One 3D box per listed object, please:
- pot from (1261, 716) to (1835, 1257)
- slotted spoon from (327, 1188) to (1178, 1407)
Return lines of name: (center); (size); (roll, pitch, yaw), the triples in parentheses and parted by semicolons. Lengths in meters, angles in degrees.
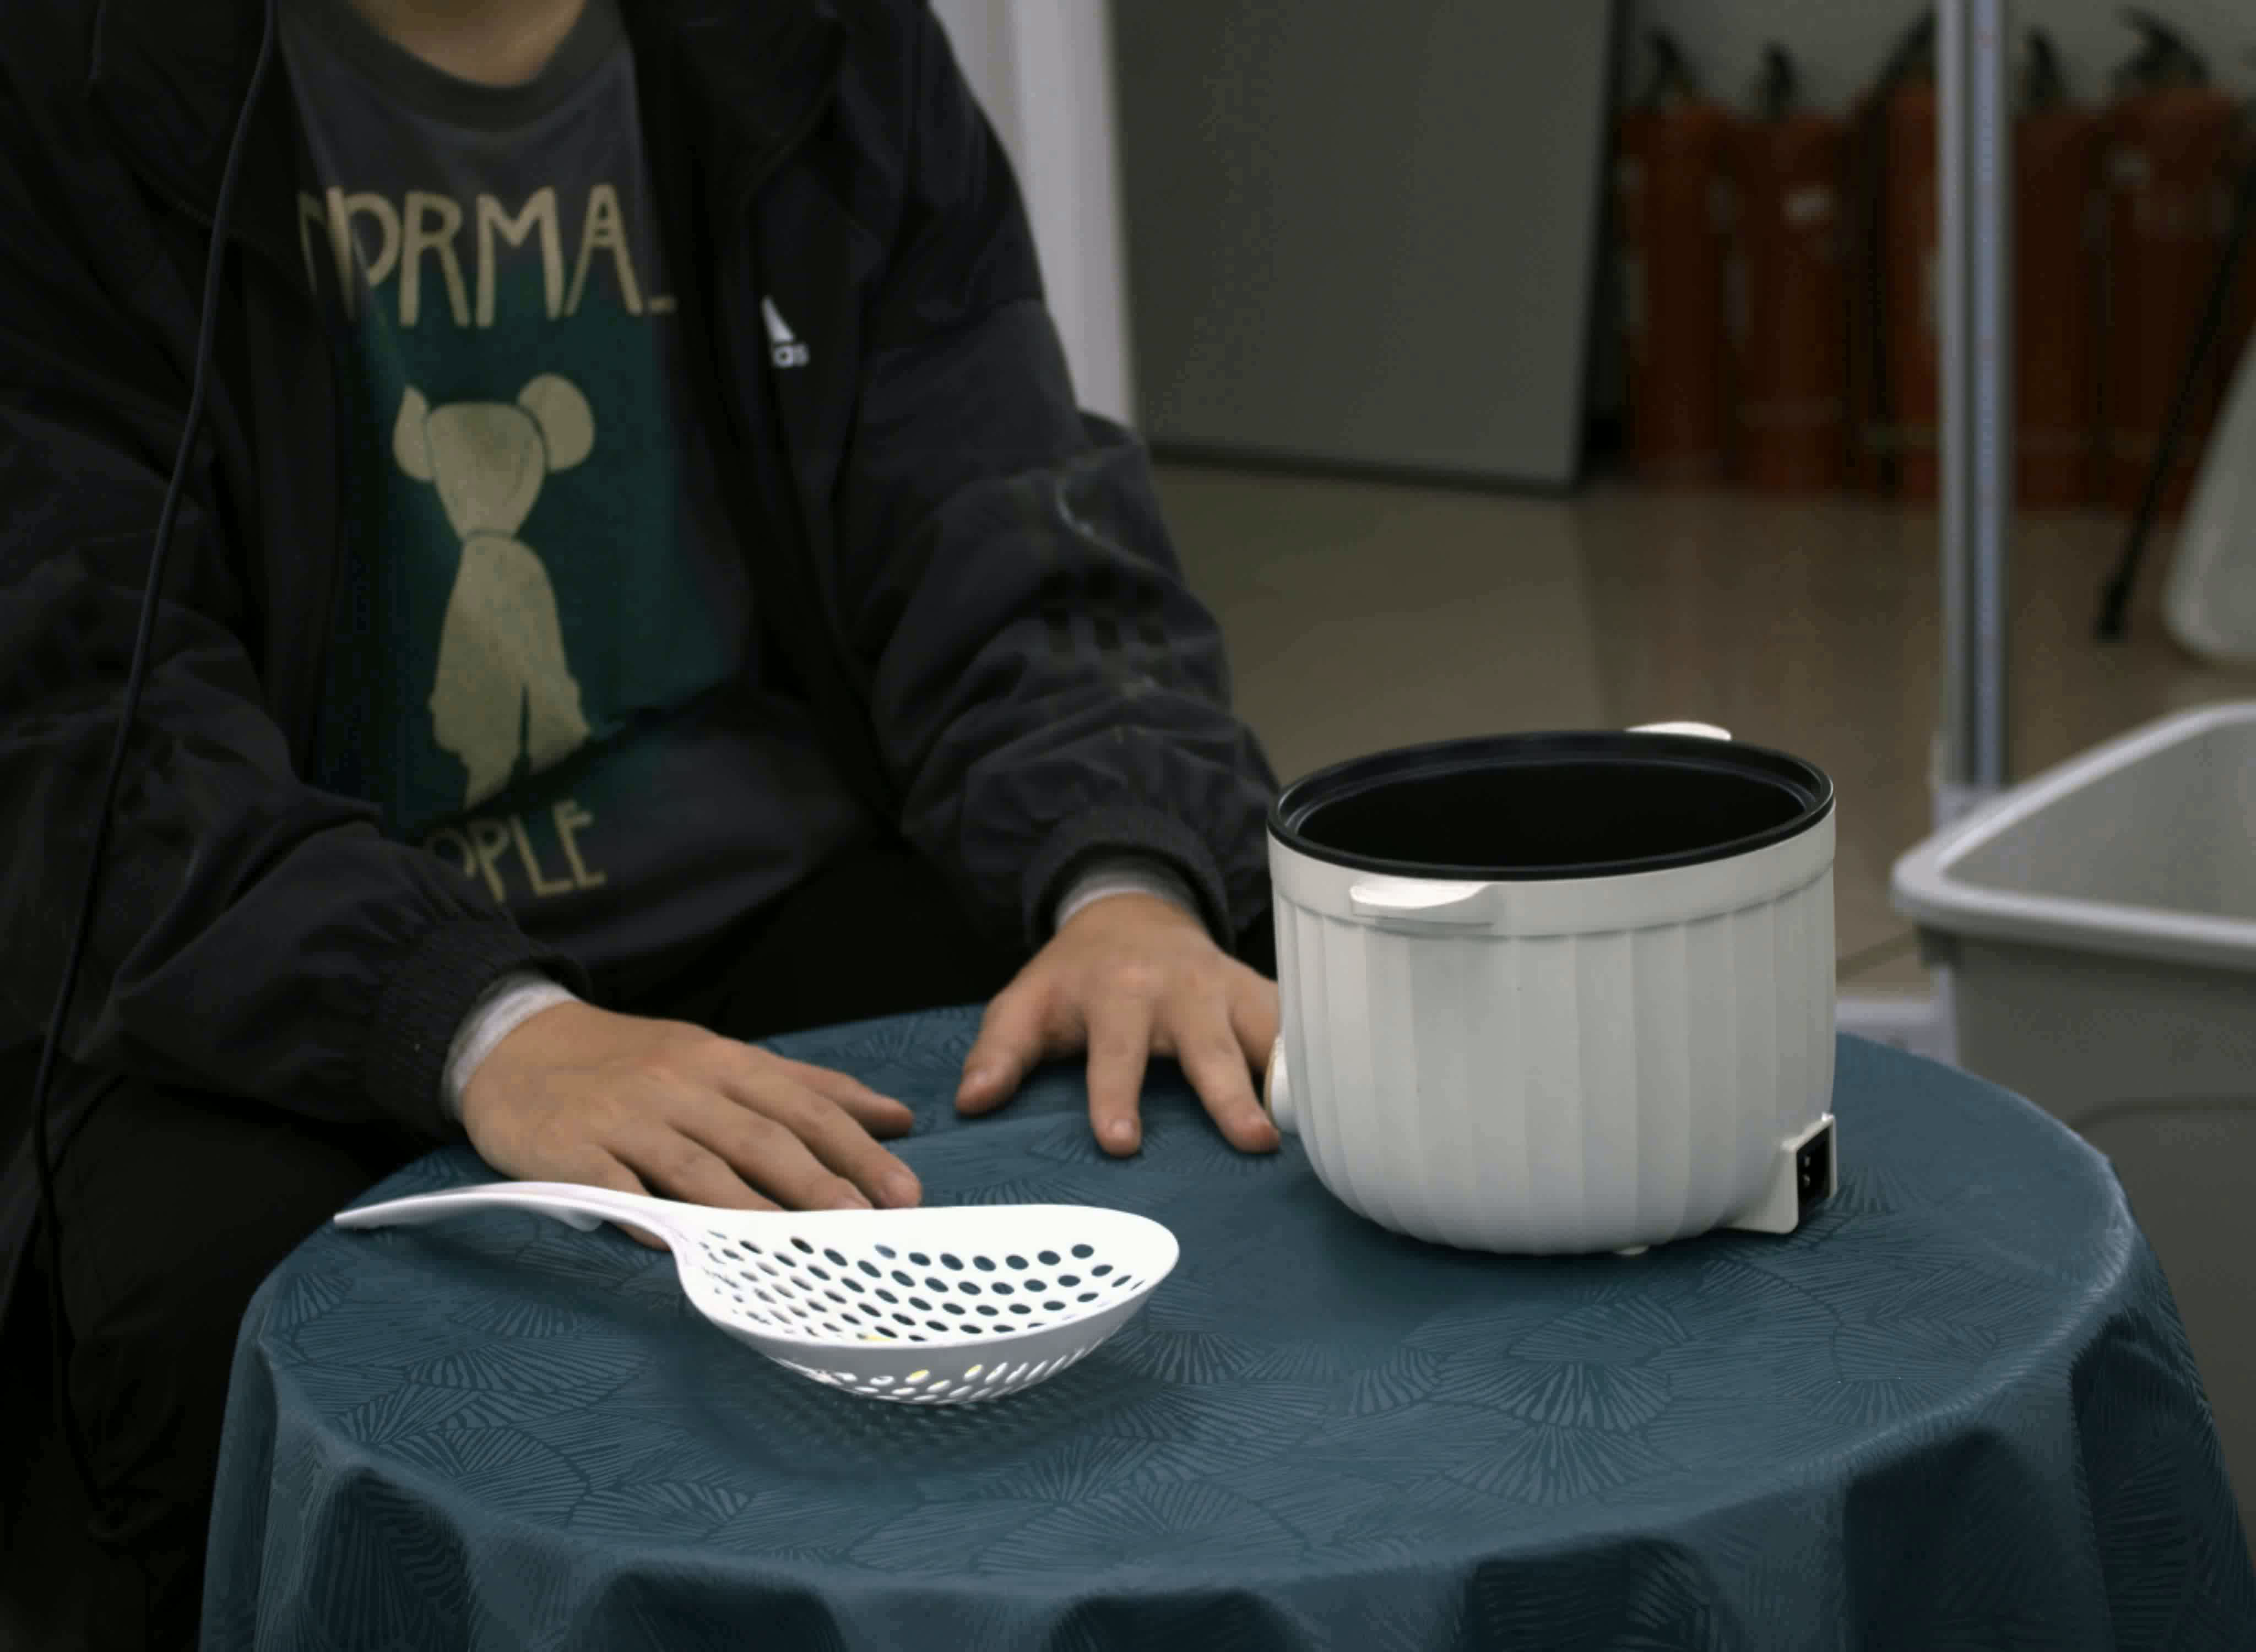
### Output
pot: (0.131, 0.053, 1.718); (0.191, 0.144, 0.237); (7, 15, 28)
slotted spoon: (-0.131, 0.135, 1.669); (0.351, 0.051, 0.134); (9, 21, 43)
